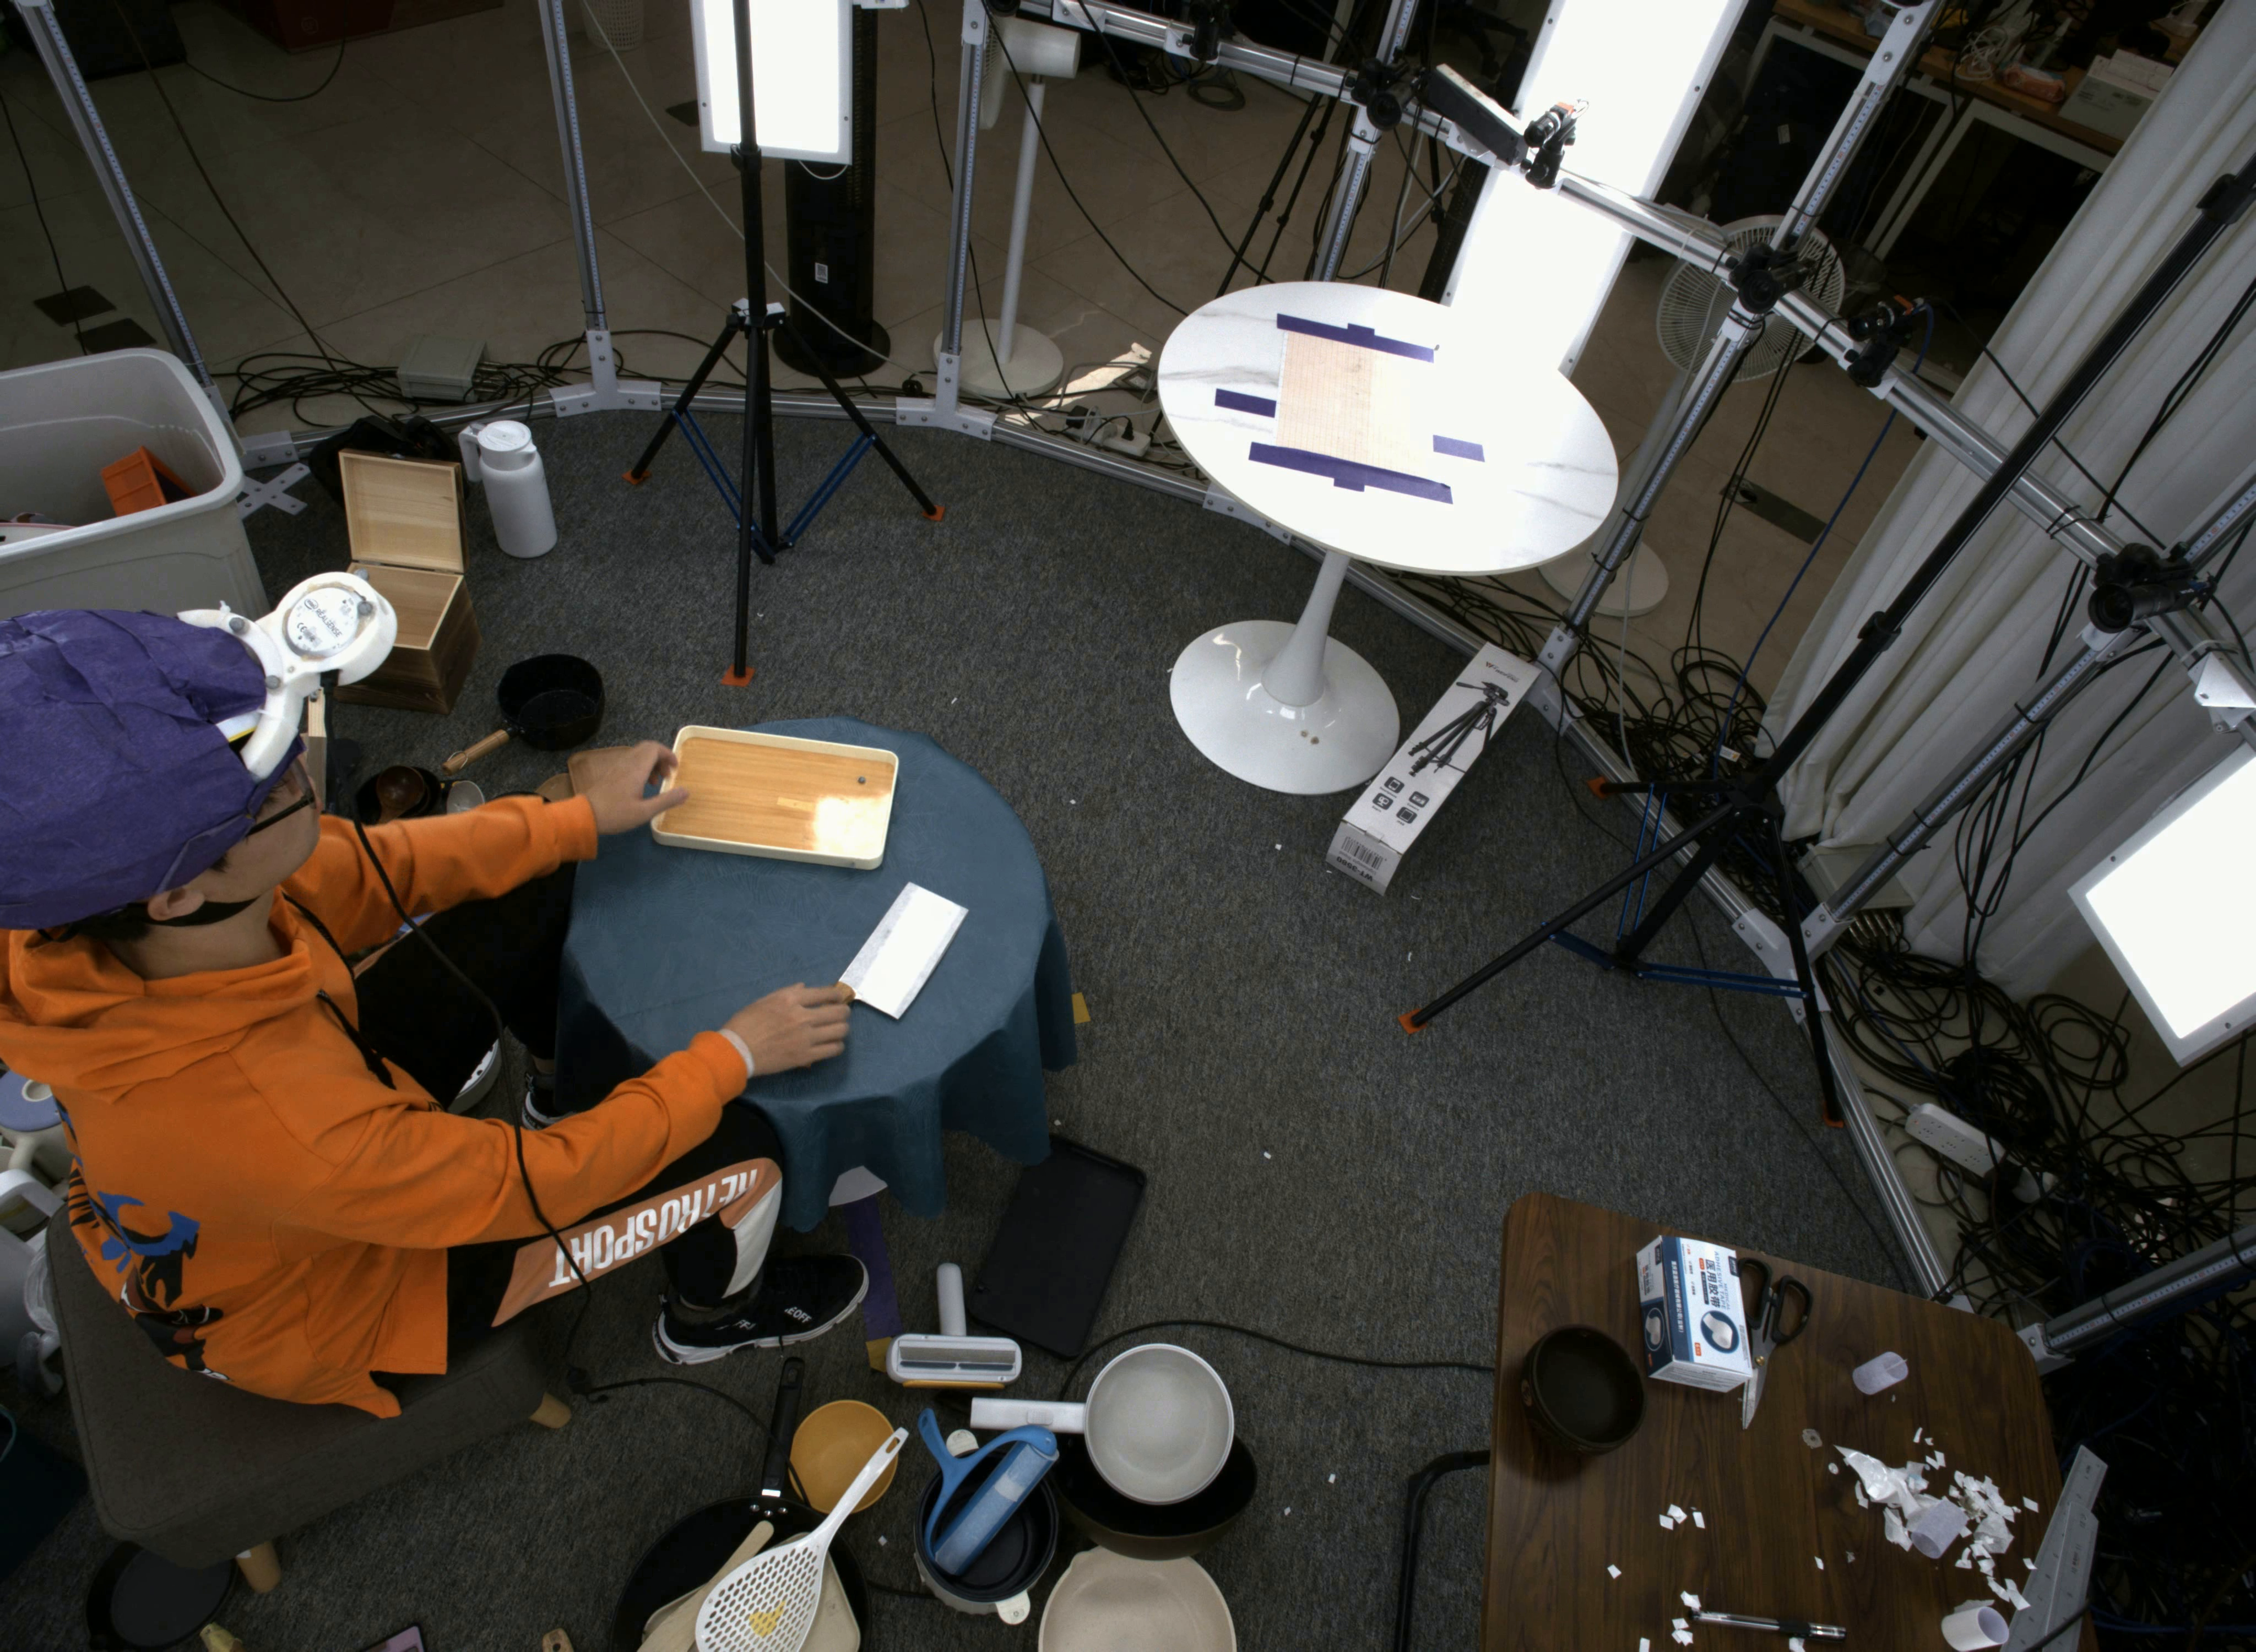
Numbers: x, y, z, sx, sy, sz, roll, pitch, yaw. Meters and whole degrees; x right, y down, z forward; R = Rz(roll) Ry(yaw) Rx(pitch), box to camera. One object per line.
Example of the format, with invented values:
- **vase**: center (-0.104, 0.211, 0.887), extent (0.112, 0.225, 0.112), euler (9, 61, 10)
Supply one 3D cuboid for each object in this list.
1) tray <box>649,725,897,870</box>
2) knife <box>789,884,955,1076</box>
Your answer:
- **tray**: center (-0.466, -0.040, 1.715), extent (0.300, 0.028, 0.188), euler (8, 52, -10)
- **knife**: center (-0.304, 0.189, 1.595), extent (0.092, 0.021, 0.303), euler (26, 49, 3)
